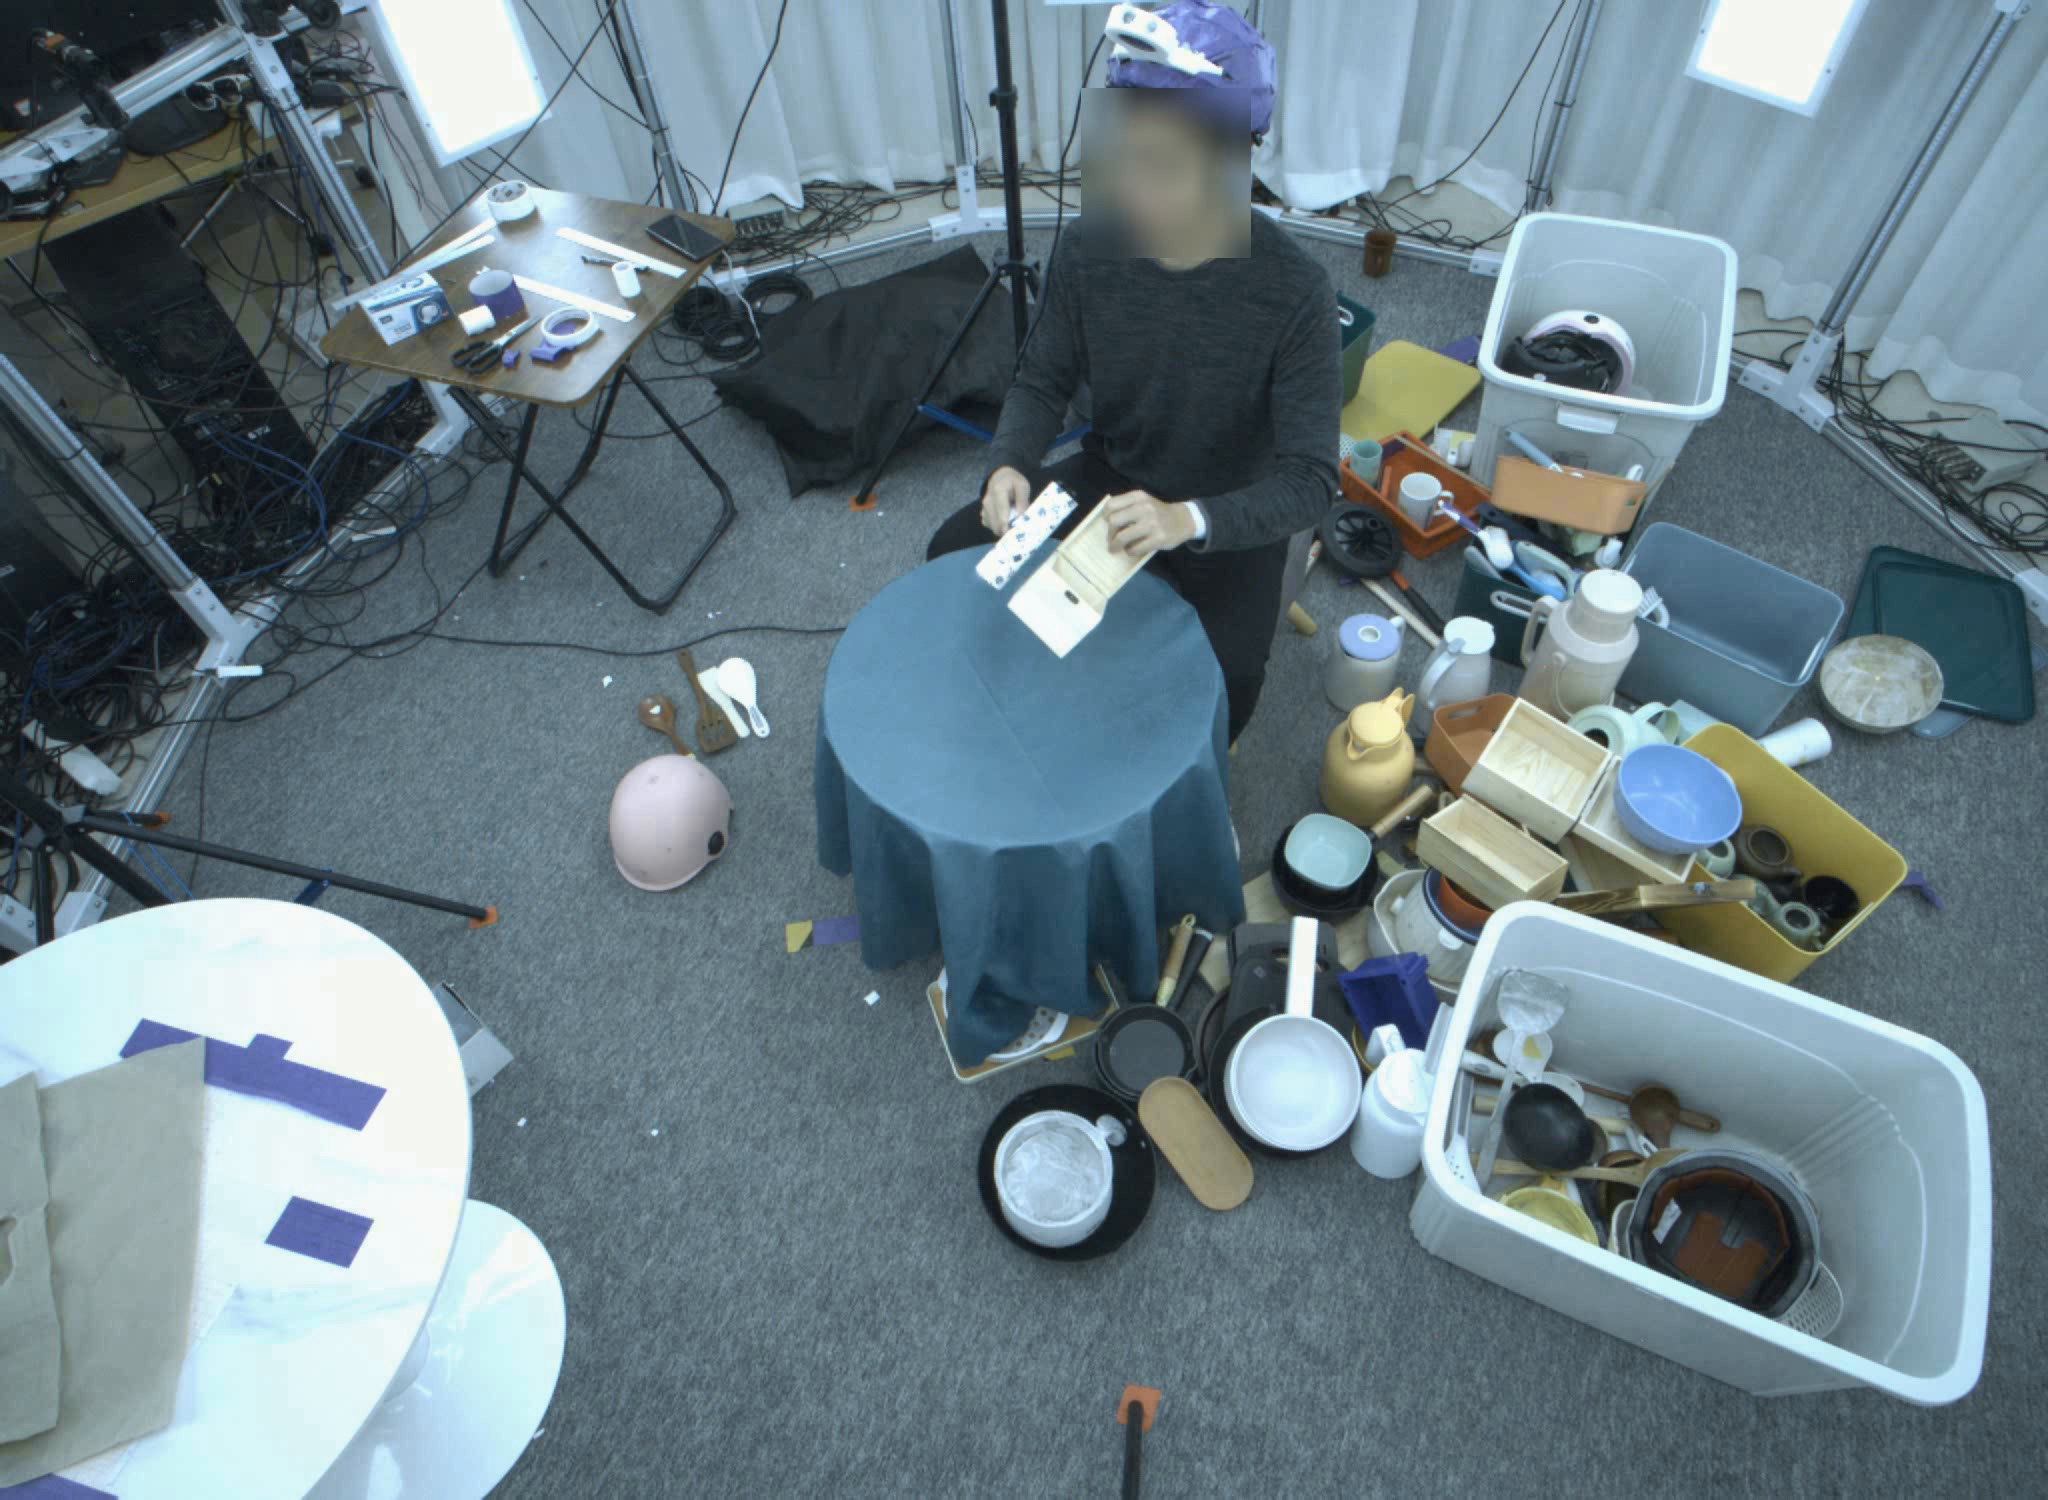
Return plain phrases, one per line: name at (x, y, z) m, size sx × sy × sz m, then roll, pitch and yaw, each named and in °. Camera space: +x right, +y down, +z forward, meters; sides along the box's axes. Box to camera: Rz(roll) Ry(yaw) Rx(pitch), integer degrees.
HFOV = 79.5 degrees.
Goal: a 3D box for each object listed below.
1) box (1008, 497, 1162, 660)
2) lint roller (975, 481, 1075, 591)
box at (0.084, -0.233, 1.648) m, size 0.103 × 0.183 × 0.133 m, roll 43°, pitch 20°, yaw -10°
lint roller at (-0.015, -0.327, 1.769) m, size 0.176 × 0.051 × 0.243 m, roll -48°, pitch 22°, yaw 10°
